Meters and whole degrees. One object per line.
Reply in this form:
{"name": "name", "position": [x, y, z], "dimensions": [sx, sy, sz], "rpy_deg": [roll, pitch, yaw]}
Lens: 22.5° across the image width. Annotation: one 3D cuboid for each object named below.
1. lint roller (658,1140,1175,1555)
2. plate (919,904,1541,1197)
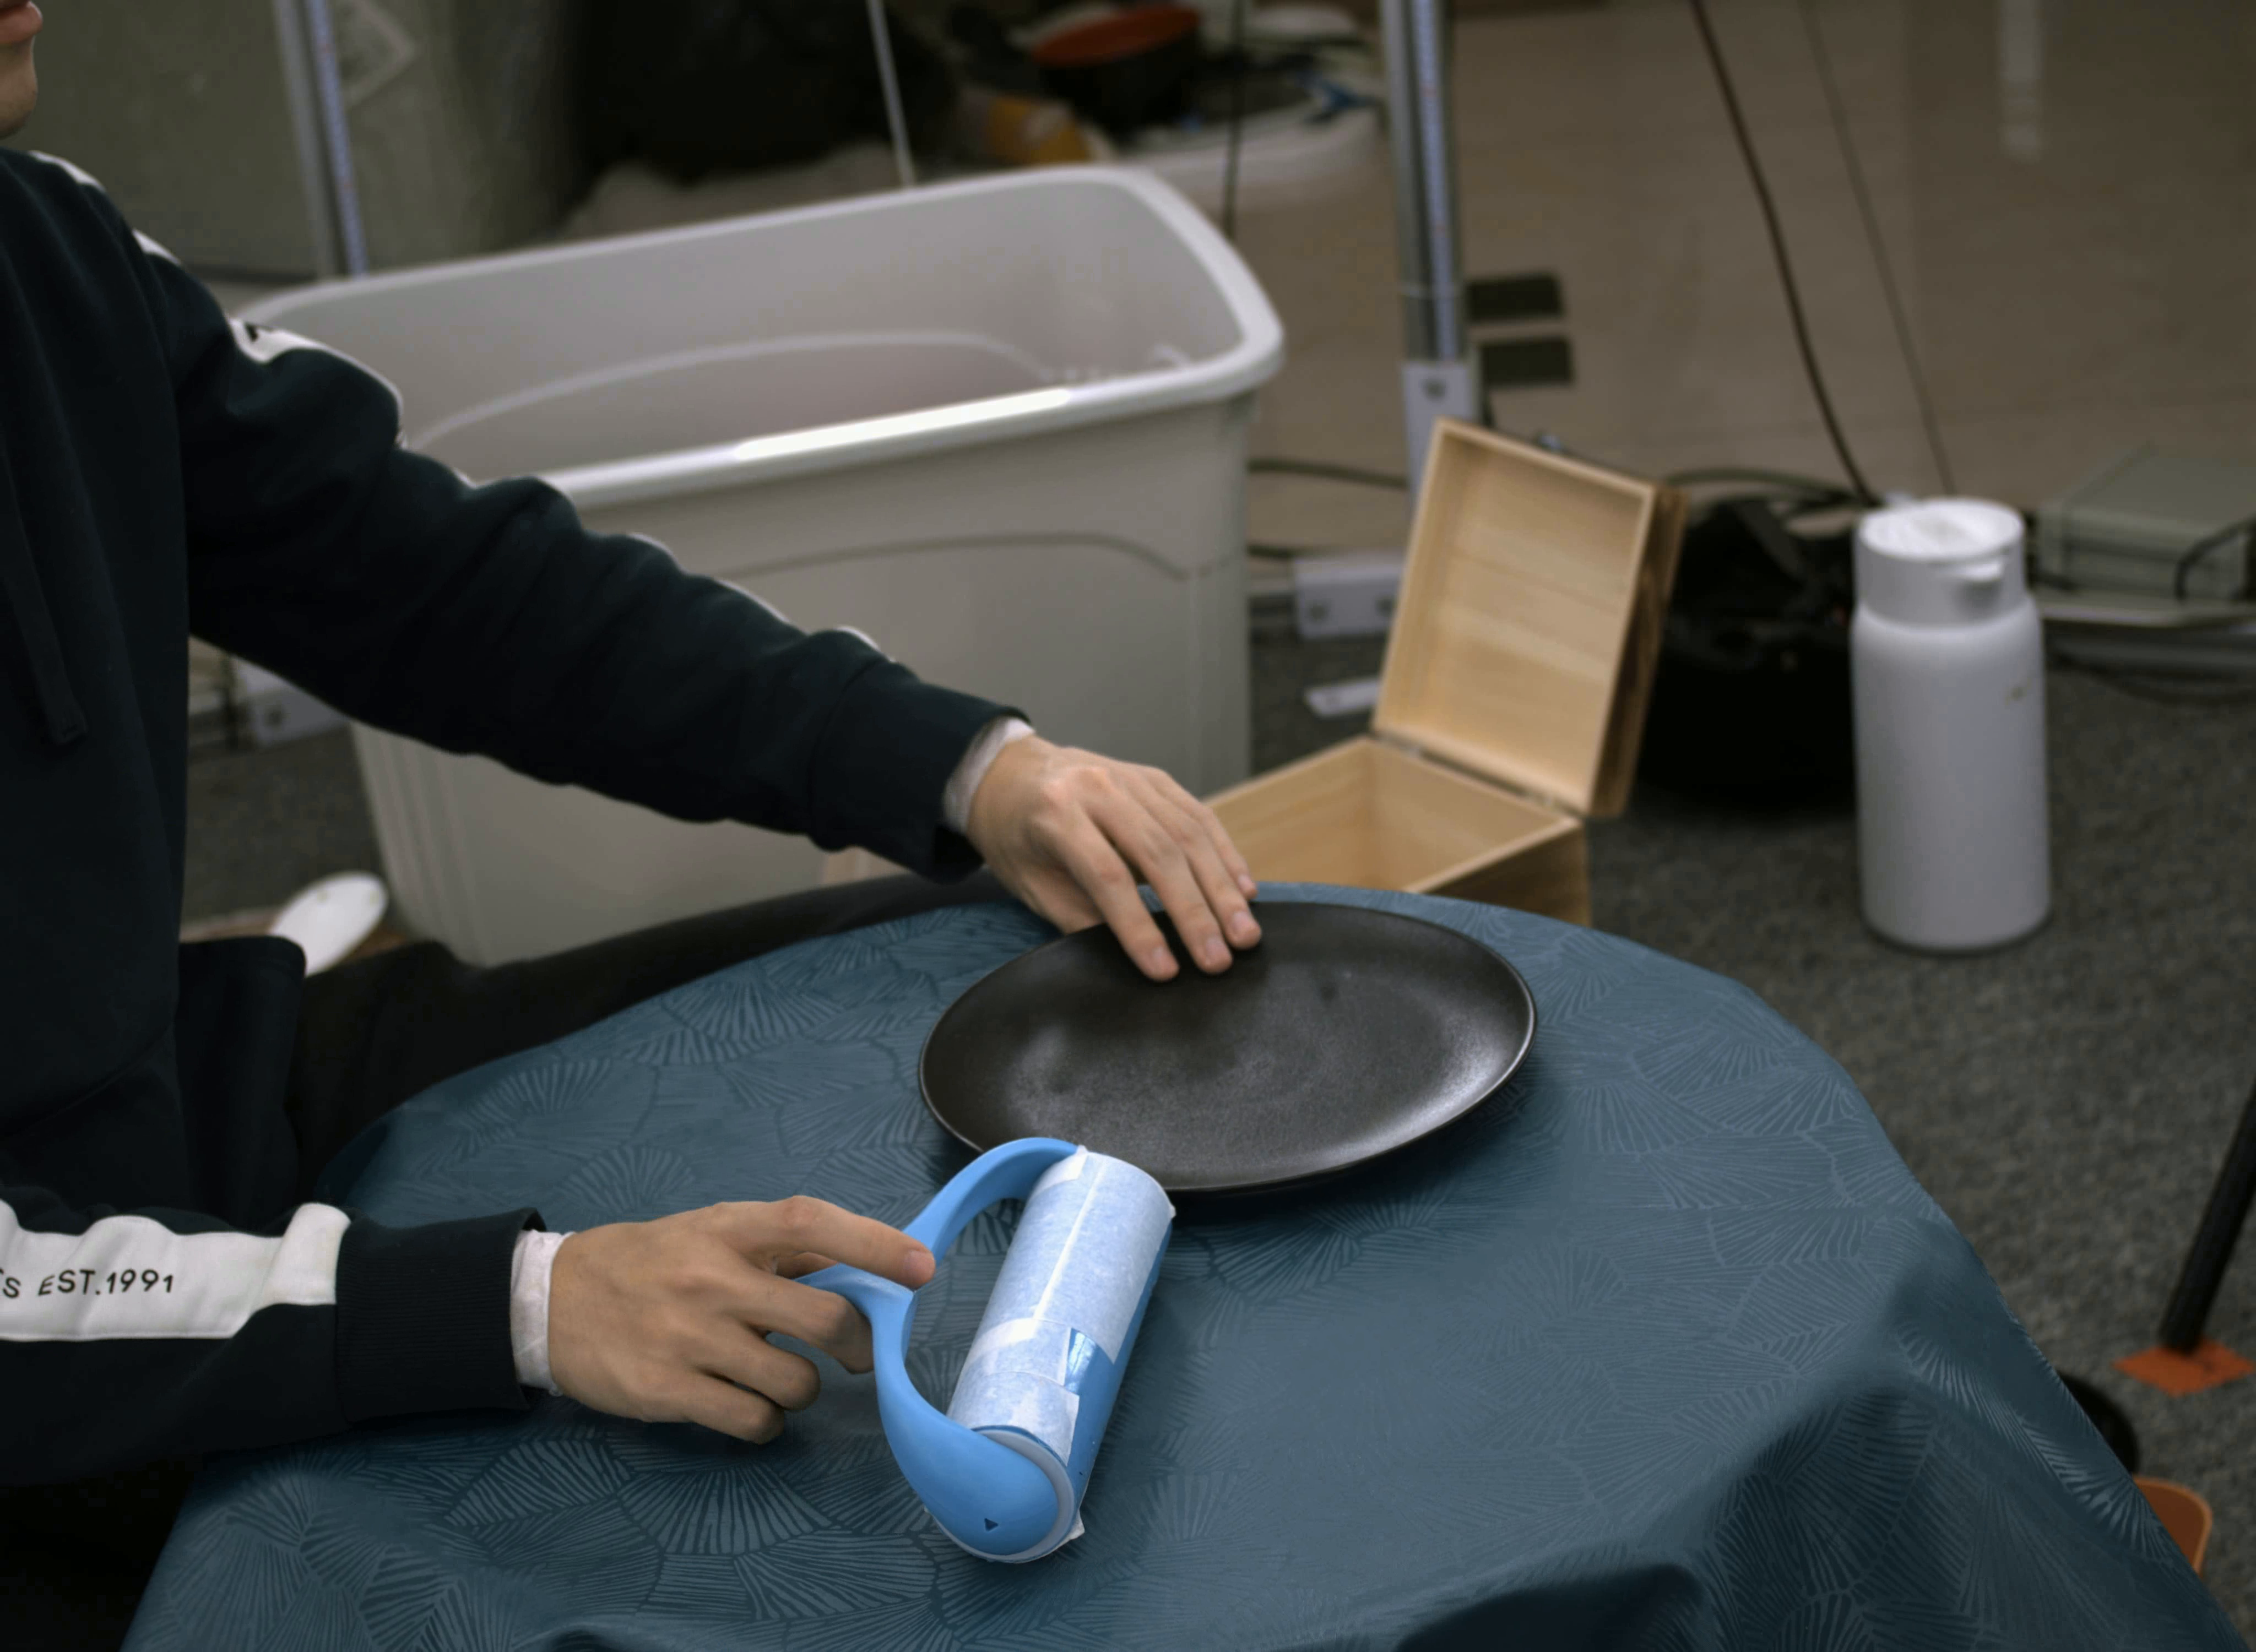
{"name": "lint roller", "position": [-0.083, 0.185, 2.000], "dimensions": [0.180, 0.069, 0.225], "rpy_deg": [-3, 26, 9]}
{"name": "plate", "position": [0.040, 0.092, 2.209], "dimensions": [0.244, 0.024, 0.241], "rpy_deg": [-5, 25, 3]}
